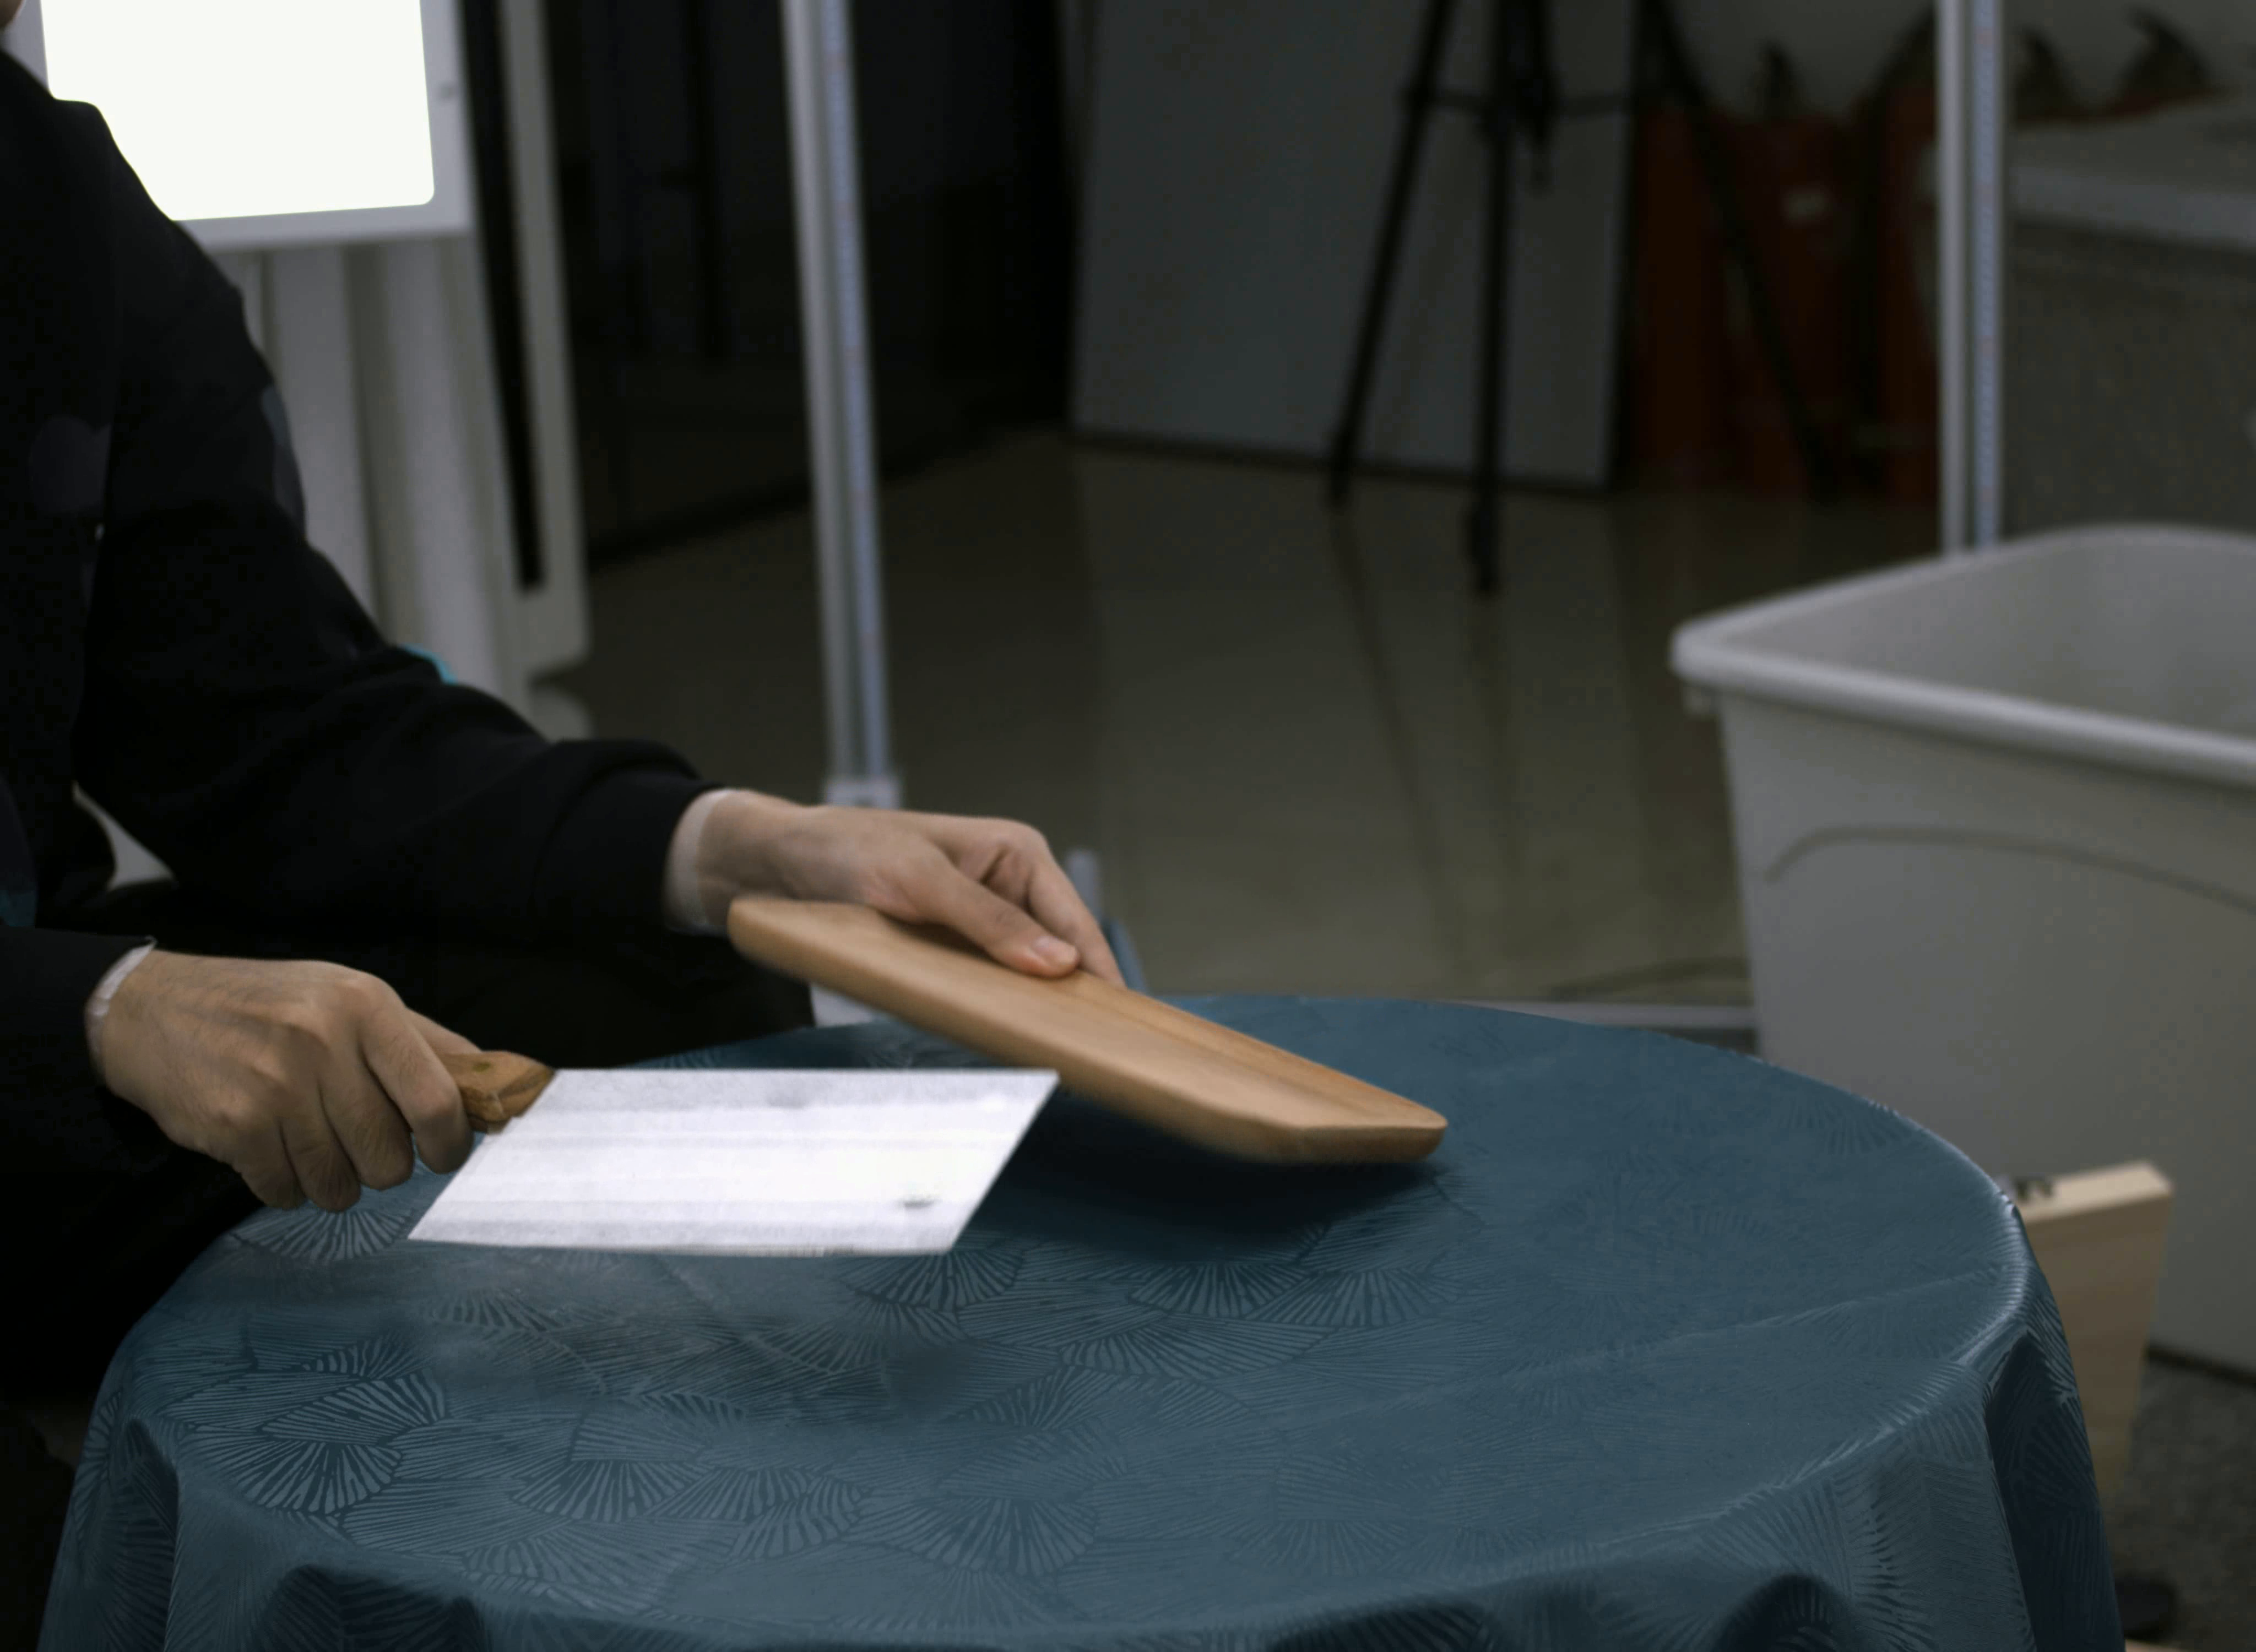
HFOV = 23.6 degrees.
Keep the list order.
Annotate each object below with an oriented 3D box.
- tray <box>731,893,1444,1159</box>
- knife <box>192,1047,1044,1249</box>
[{"bbox_3d":[-0.017,0.066,1.802,0.253,0.023,0.128,19,4,40],"label":"tray"},{"bbox_3d":[-0.170,0.100,1.666,0.306,0.021,0.092,-3,33,28],"label":"knife"}]
